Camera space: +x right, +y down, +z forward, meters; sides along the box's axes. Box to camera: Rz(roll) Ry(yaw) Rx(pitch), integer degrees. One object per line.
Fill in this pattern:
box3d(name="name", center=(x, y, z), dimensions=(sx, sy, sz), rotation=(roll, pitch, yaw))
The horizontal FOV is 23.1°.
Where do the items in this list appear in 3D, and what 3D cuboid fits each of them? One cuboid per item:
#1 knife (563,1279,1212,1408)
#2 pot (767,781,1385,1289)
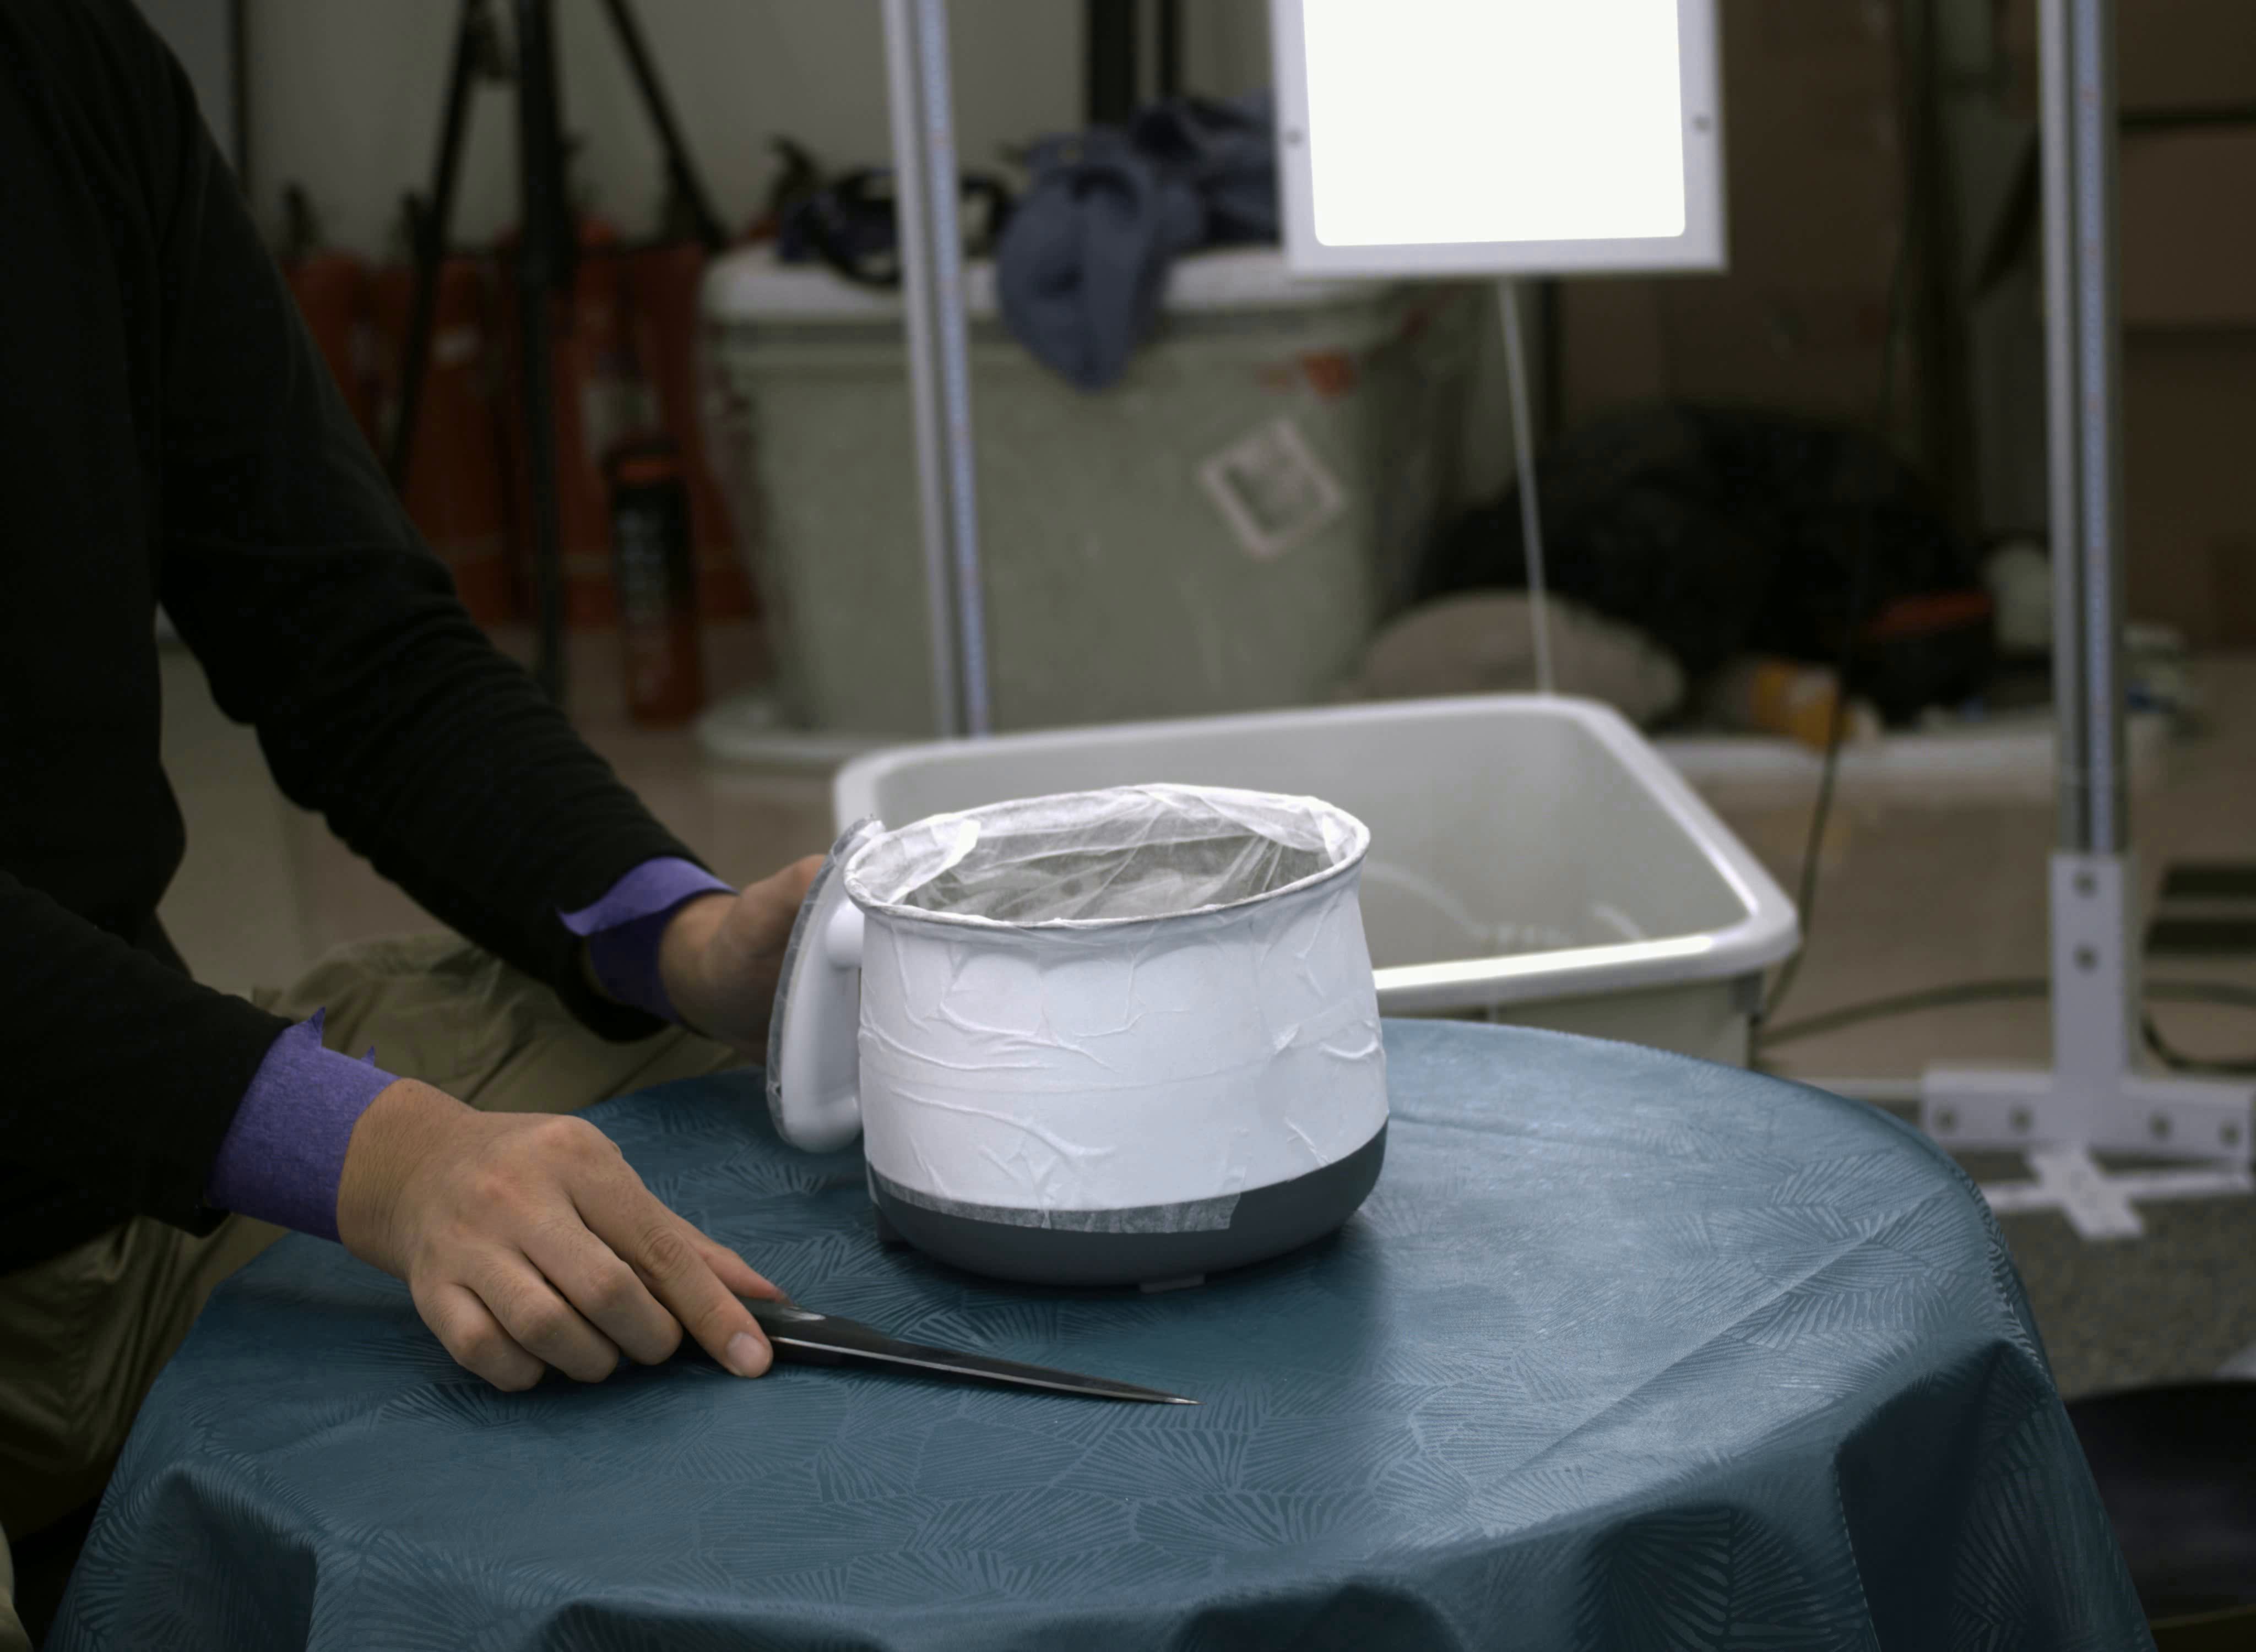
box3d(name="knife", center=(-0.081, 0.166, 1.745), dimensions=(0.242, 0.016, 0.024), rotation=(6, 4, 29))
box3d(name="pot", center=(-0.026, 0.066, 1.858), dimensions=(0.238, 0.137, 0.174), rotation=(6, 17, 34))
